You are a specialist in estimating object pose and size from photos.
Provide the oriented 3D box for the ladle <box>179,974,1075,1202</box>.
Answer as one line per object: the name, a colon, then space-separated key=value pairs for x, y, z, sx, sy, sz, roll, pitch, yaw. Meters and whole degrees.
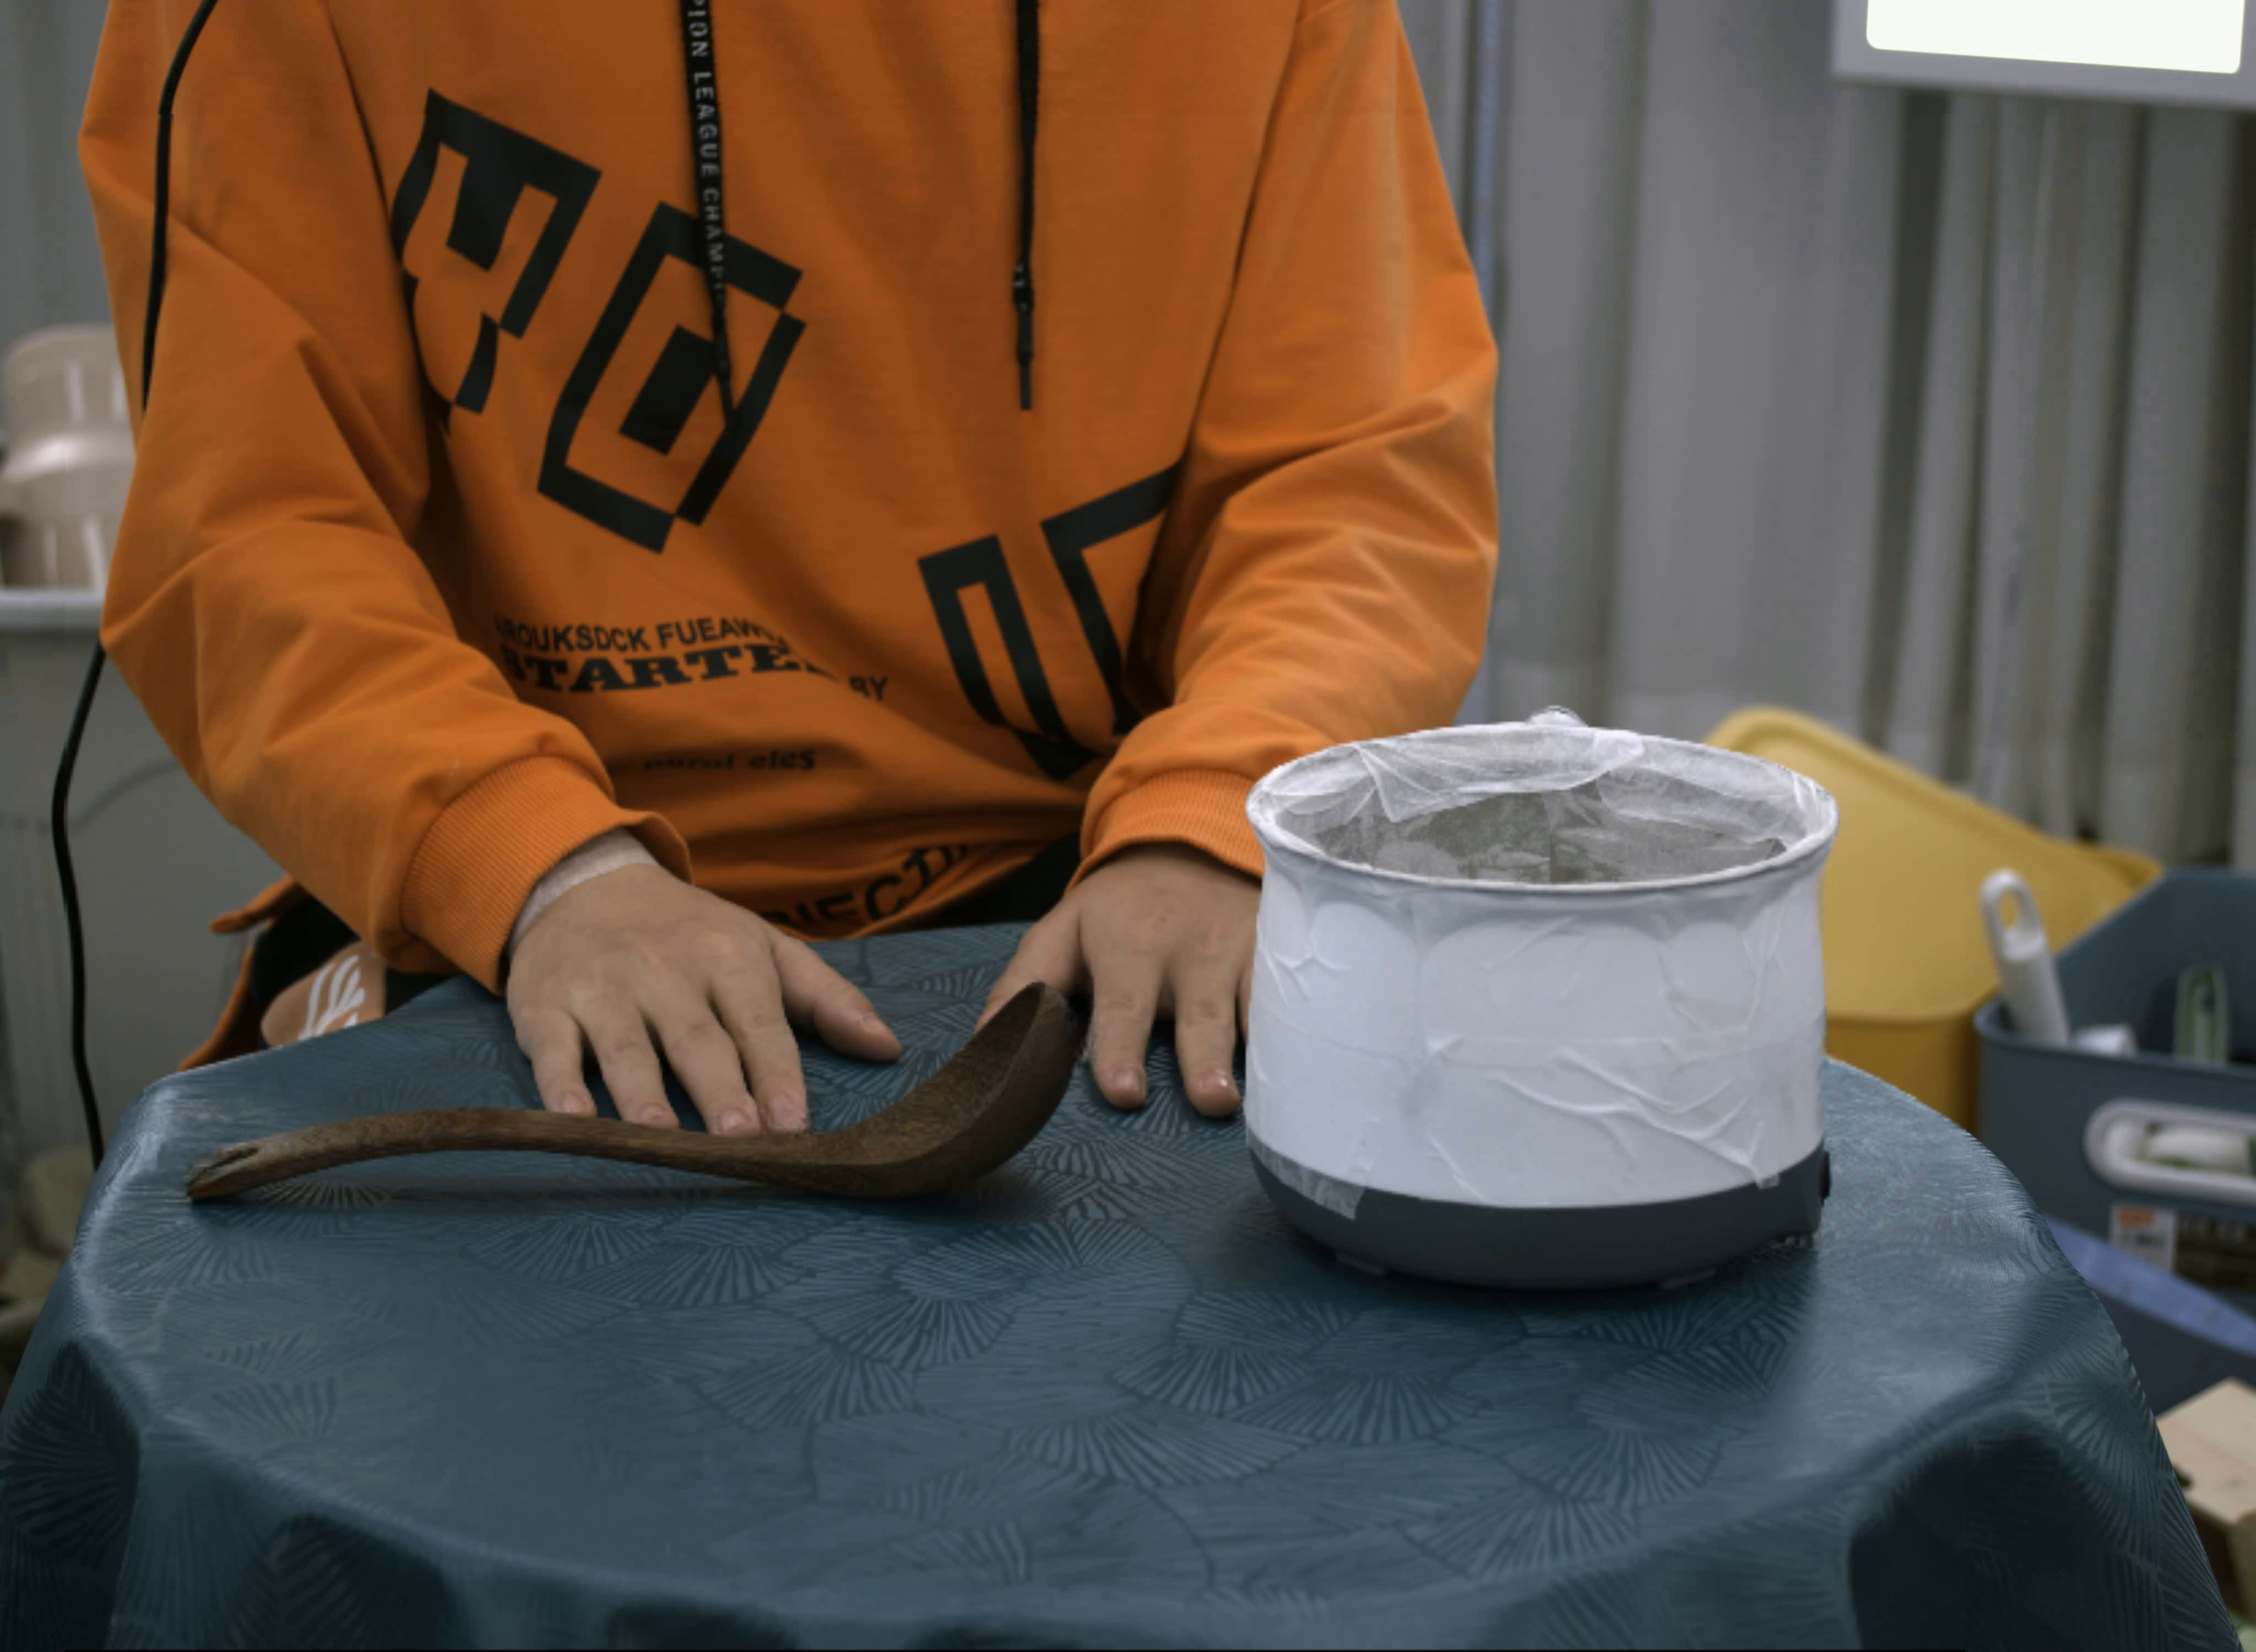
ladle: x=-0.153 y=0.079 z=1.606 sx=0.273 sy=0.072 sz=0.075 roll=1 pitch=14 yaw=-2

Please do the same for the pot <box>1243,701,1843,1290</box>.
pot: x=0.125 y=0.046 z=1.606 sx=0.178 sy=0.138 sz=0.233 roll=2 pitch=16 yaw=4
